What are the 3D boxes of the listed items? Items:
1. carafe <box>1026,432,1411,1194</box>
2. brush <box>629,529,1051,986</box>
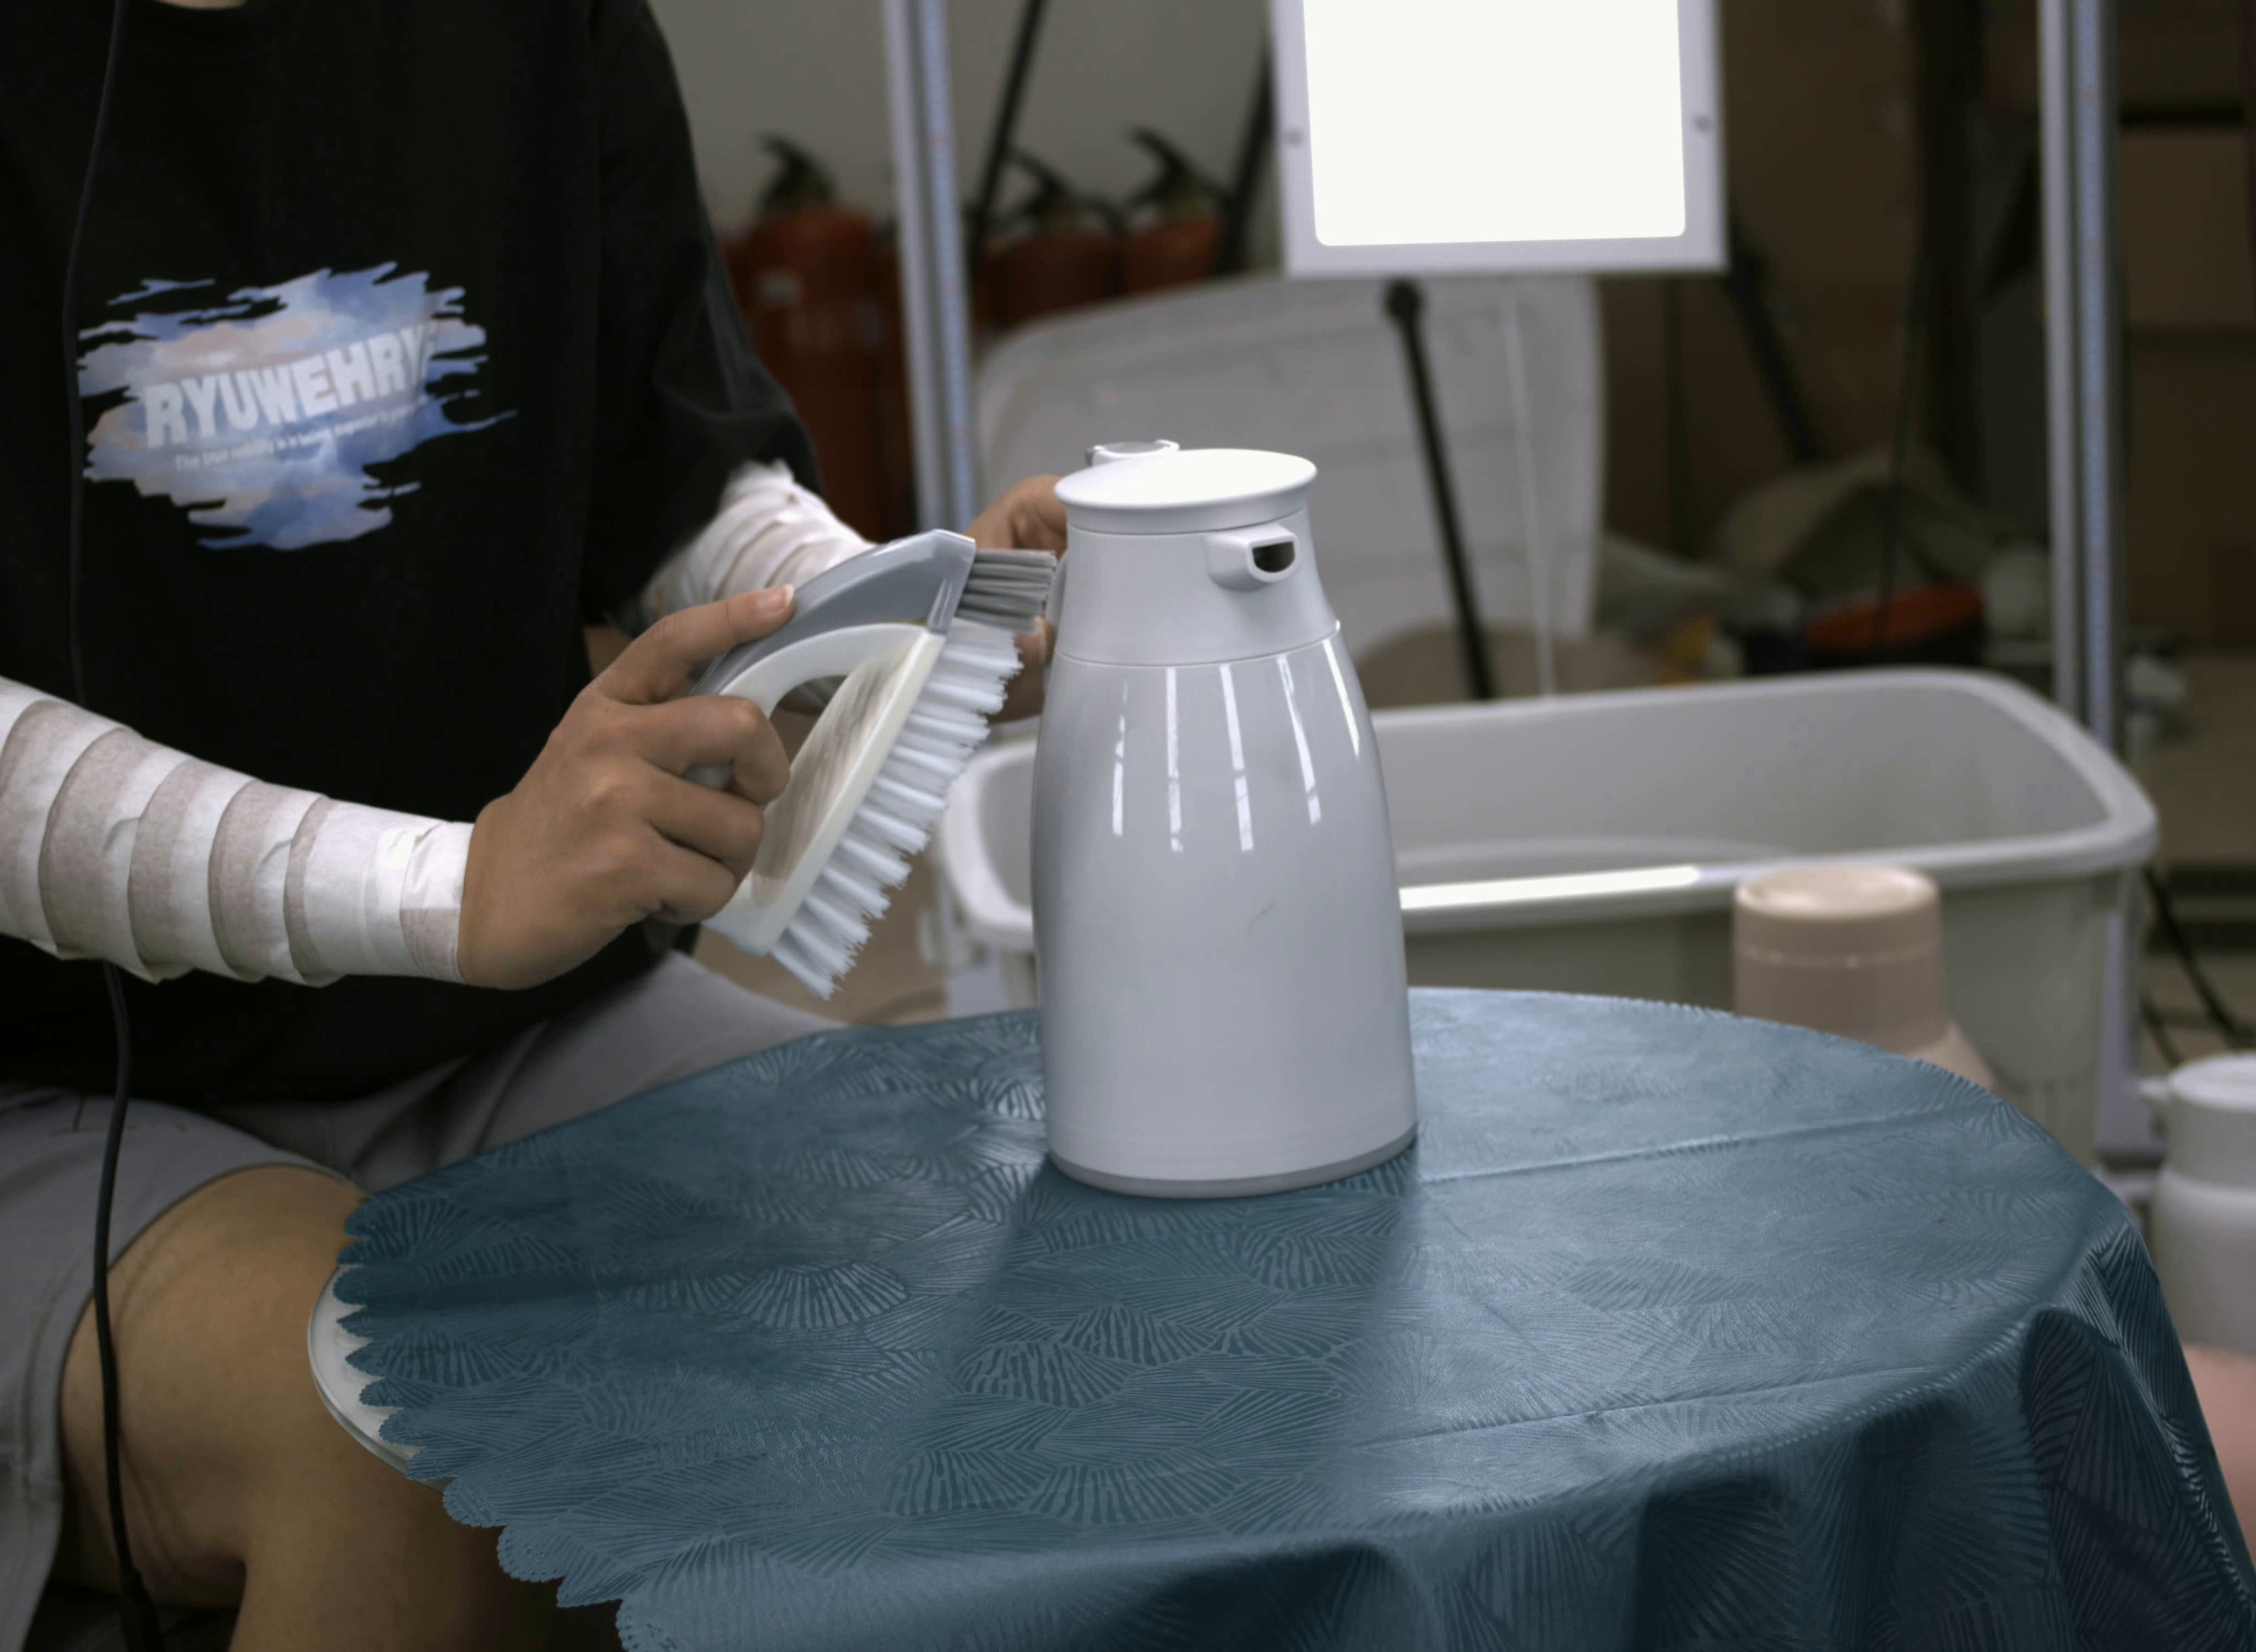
[{"bbox_3d":[0.017,-0.013,1.933,0.130,0.249,0.170,-11,15,-25],"label":"carafe"},{"bbox_3d":[-0.103,-0.036,1.852,0.092,0.178,0.061,23,27,-24],"label":"brush"}]
